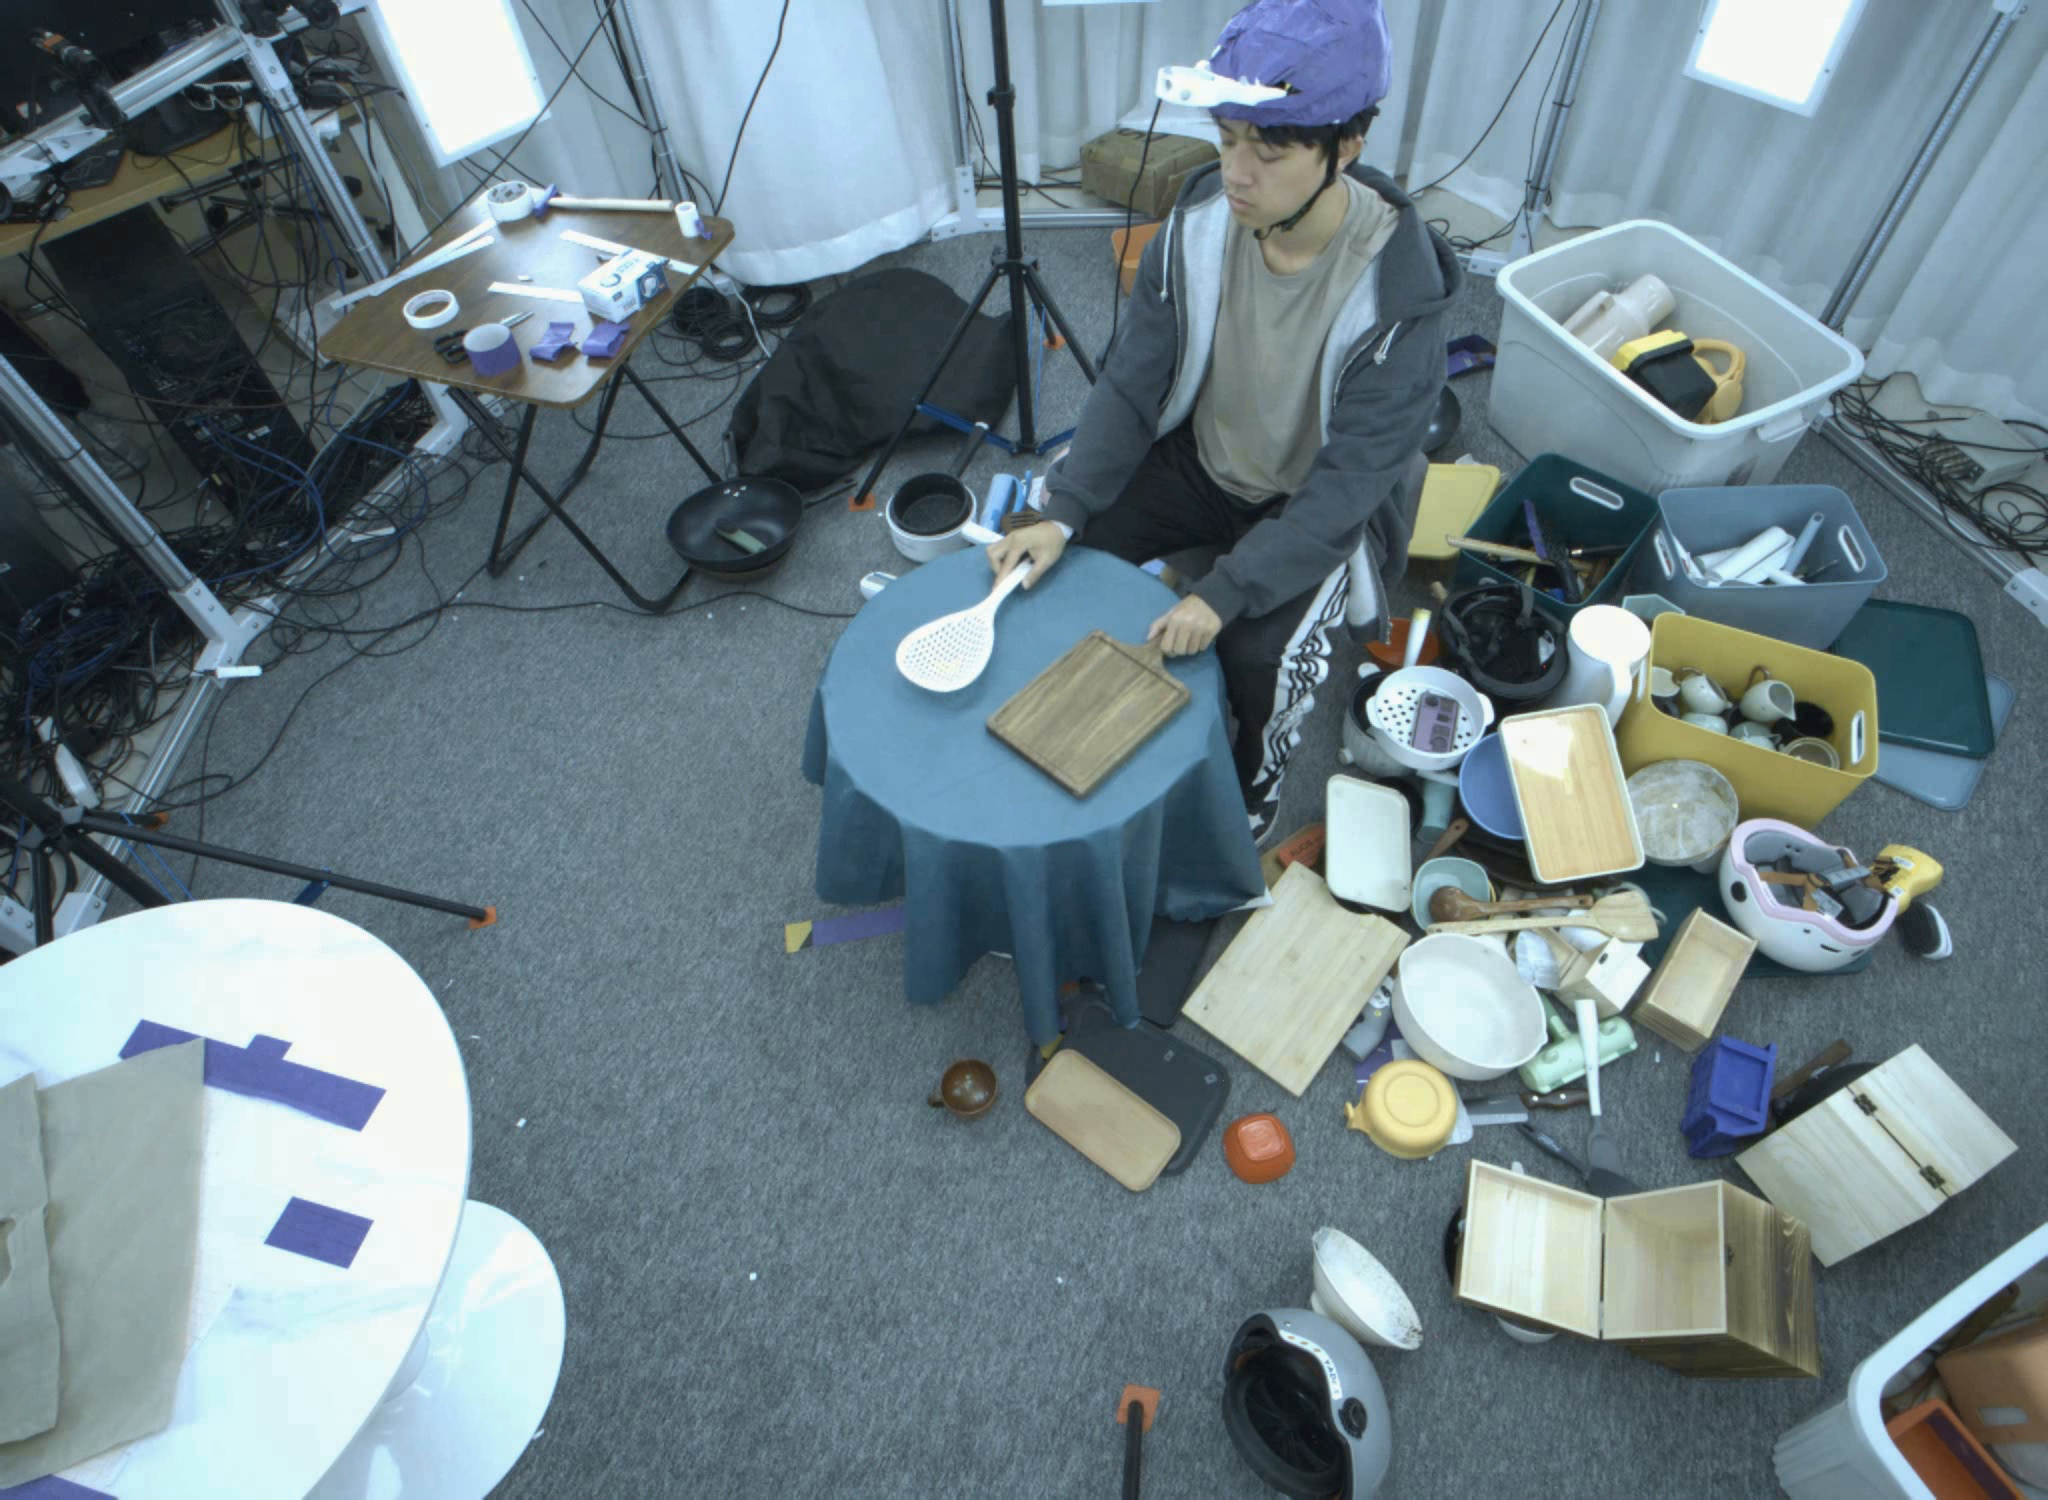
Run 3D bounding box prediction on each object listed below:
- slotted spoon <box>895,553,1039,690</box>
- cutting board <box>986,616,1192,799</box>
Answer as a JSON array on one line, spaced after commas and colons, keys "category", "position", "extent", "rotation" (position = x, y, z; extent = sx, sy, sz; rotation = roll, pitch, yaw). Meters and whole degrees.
[{"category": "slotted spoon", "position": [-0.066, -0.210, 1.916], "extent": [0.135, 0.051, 0.349], "rotation": [26, 60, 18]}, {"category": "cutting board", "position": [0.130, -0.090, 1.837], "extent": [0.197, 0.023, 0.354], "rotation": [37, 64, 24]}]
